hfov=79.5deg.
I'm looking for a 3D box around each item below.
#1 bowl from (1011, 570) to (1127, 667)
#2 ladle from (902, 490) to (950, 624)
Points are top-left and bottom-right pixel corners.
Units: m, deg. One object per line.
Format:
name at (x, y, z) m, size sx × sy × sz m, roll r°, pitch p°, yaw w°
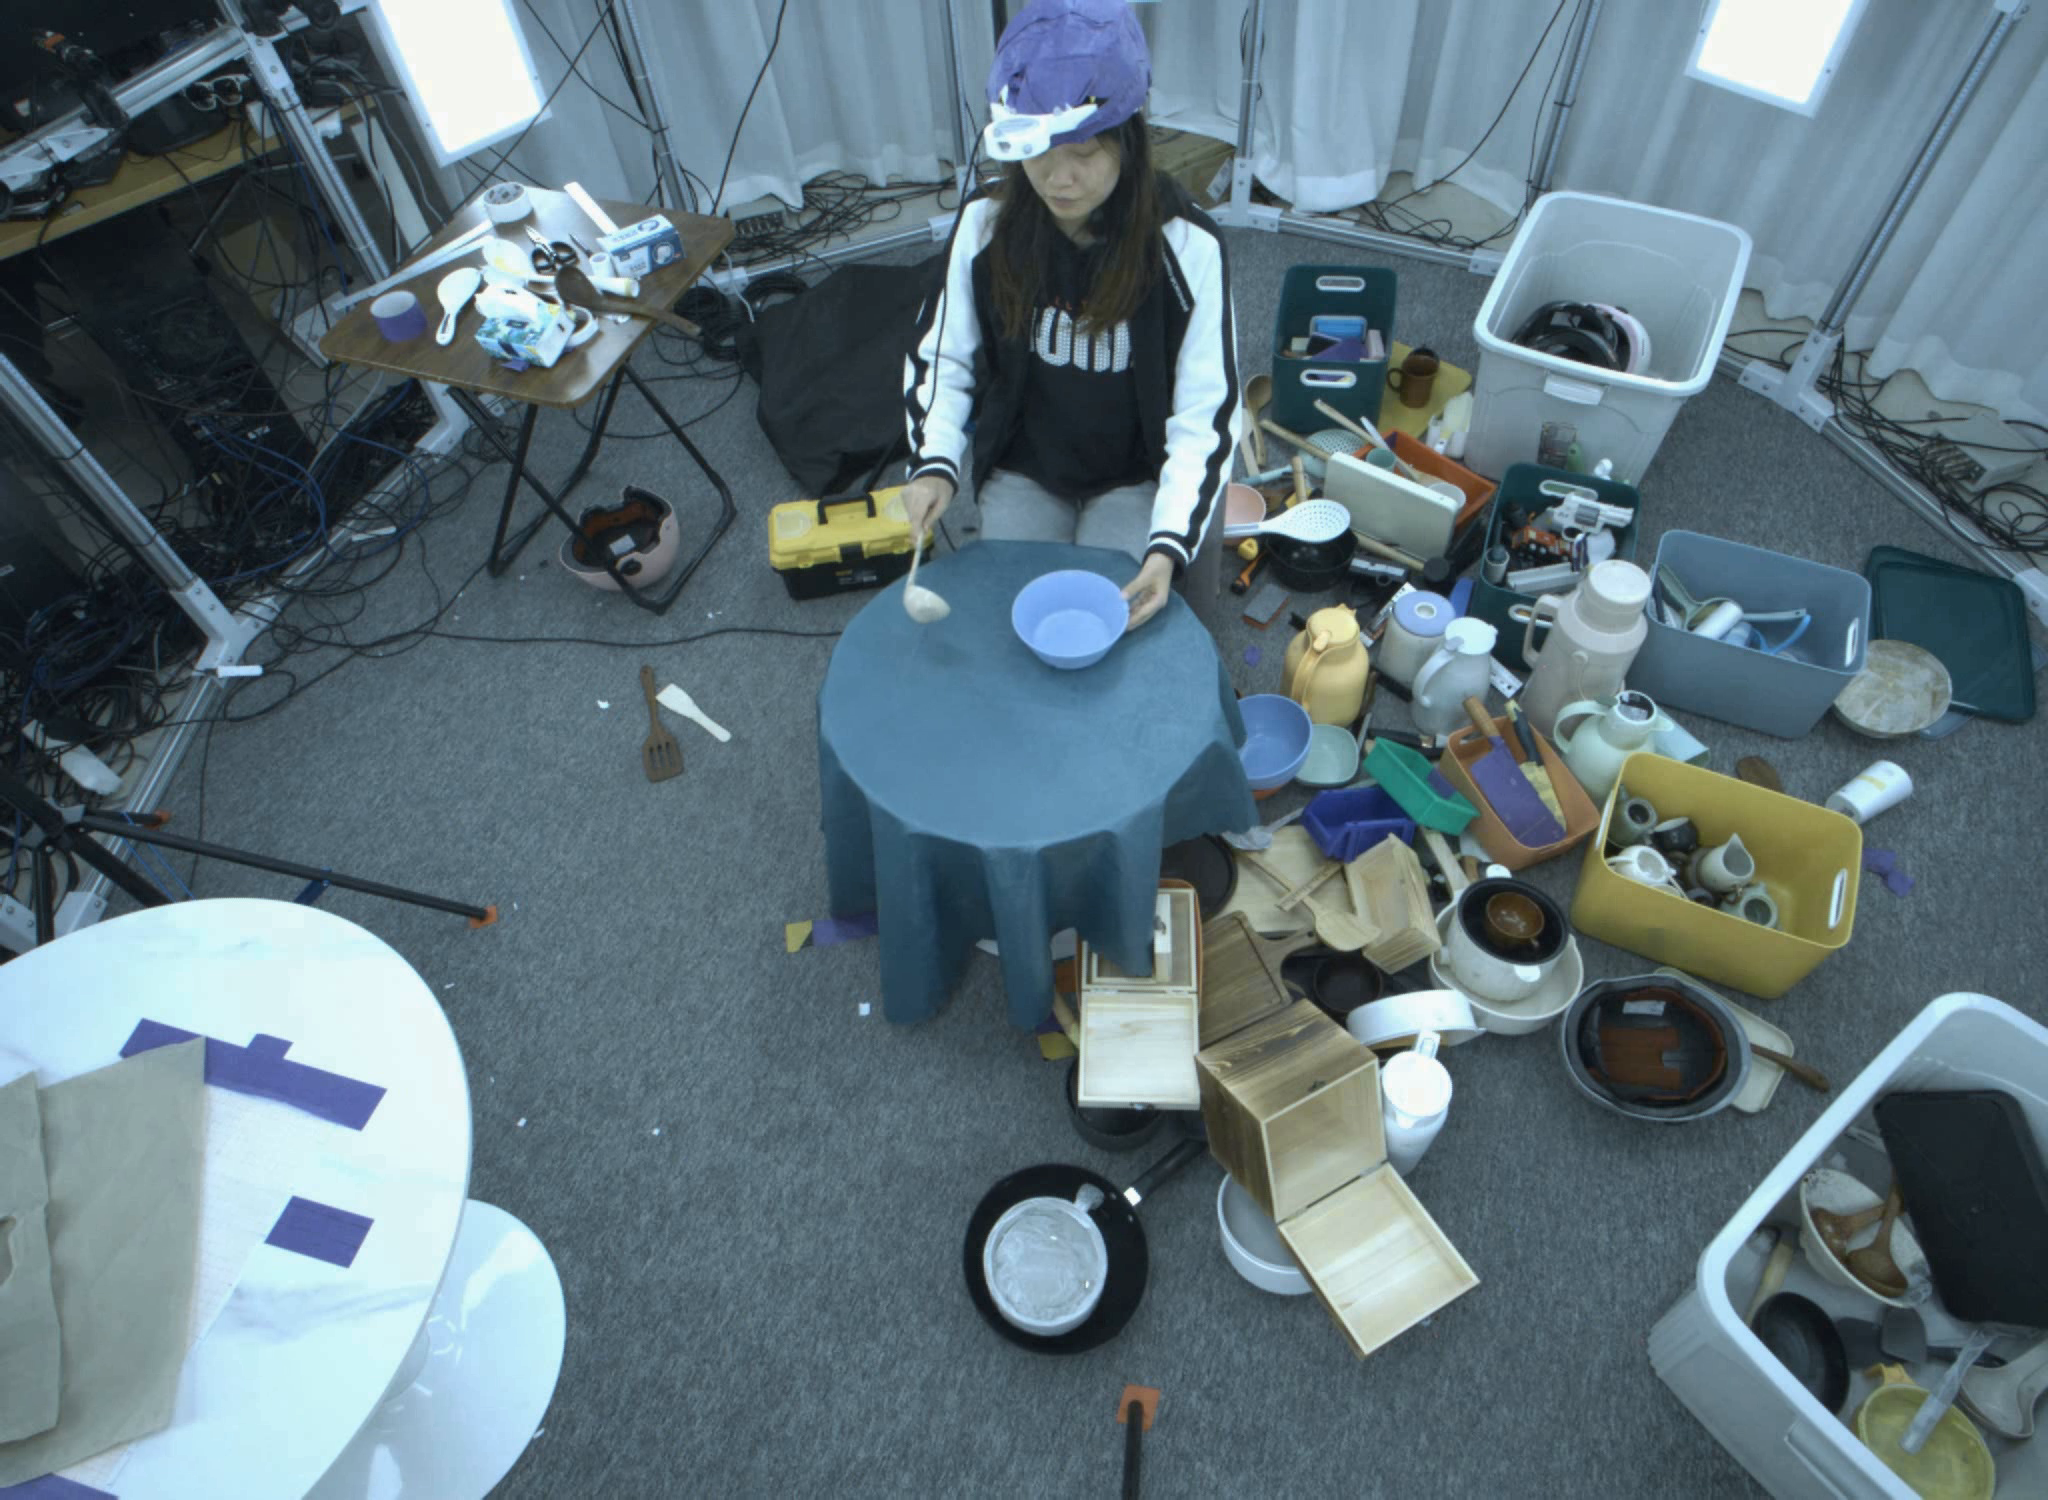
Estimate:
bowl at (0.068, -0.191, 1.877) m, size 0.176 × 0.071 × 0.174 m, roll 0°, pitch 55°, yaw 1°
ladle at (-0.146, -0.309, 1.872) m, size 0.072 × 0.074 × 0.252 m, roll -13°, pitch 61°, yaw 27°
